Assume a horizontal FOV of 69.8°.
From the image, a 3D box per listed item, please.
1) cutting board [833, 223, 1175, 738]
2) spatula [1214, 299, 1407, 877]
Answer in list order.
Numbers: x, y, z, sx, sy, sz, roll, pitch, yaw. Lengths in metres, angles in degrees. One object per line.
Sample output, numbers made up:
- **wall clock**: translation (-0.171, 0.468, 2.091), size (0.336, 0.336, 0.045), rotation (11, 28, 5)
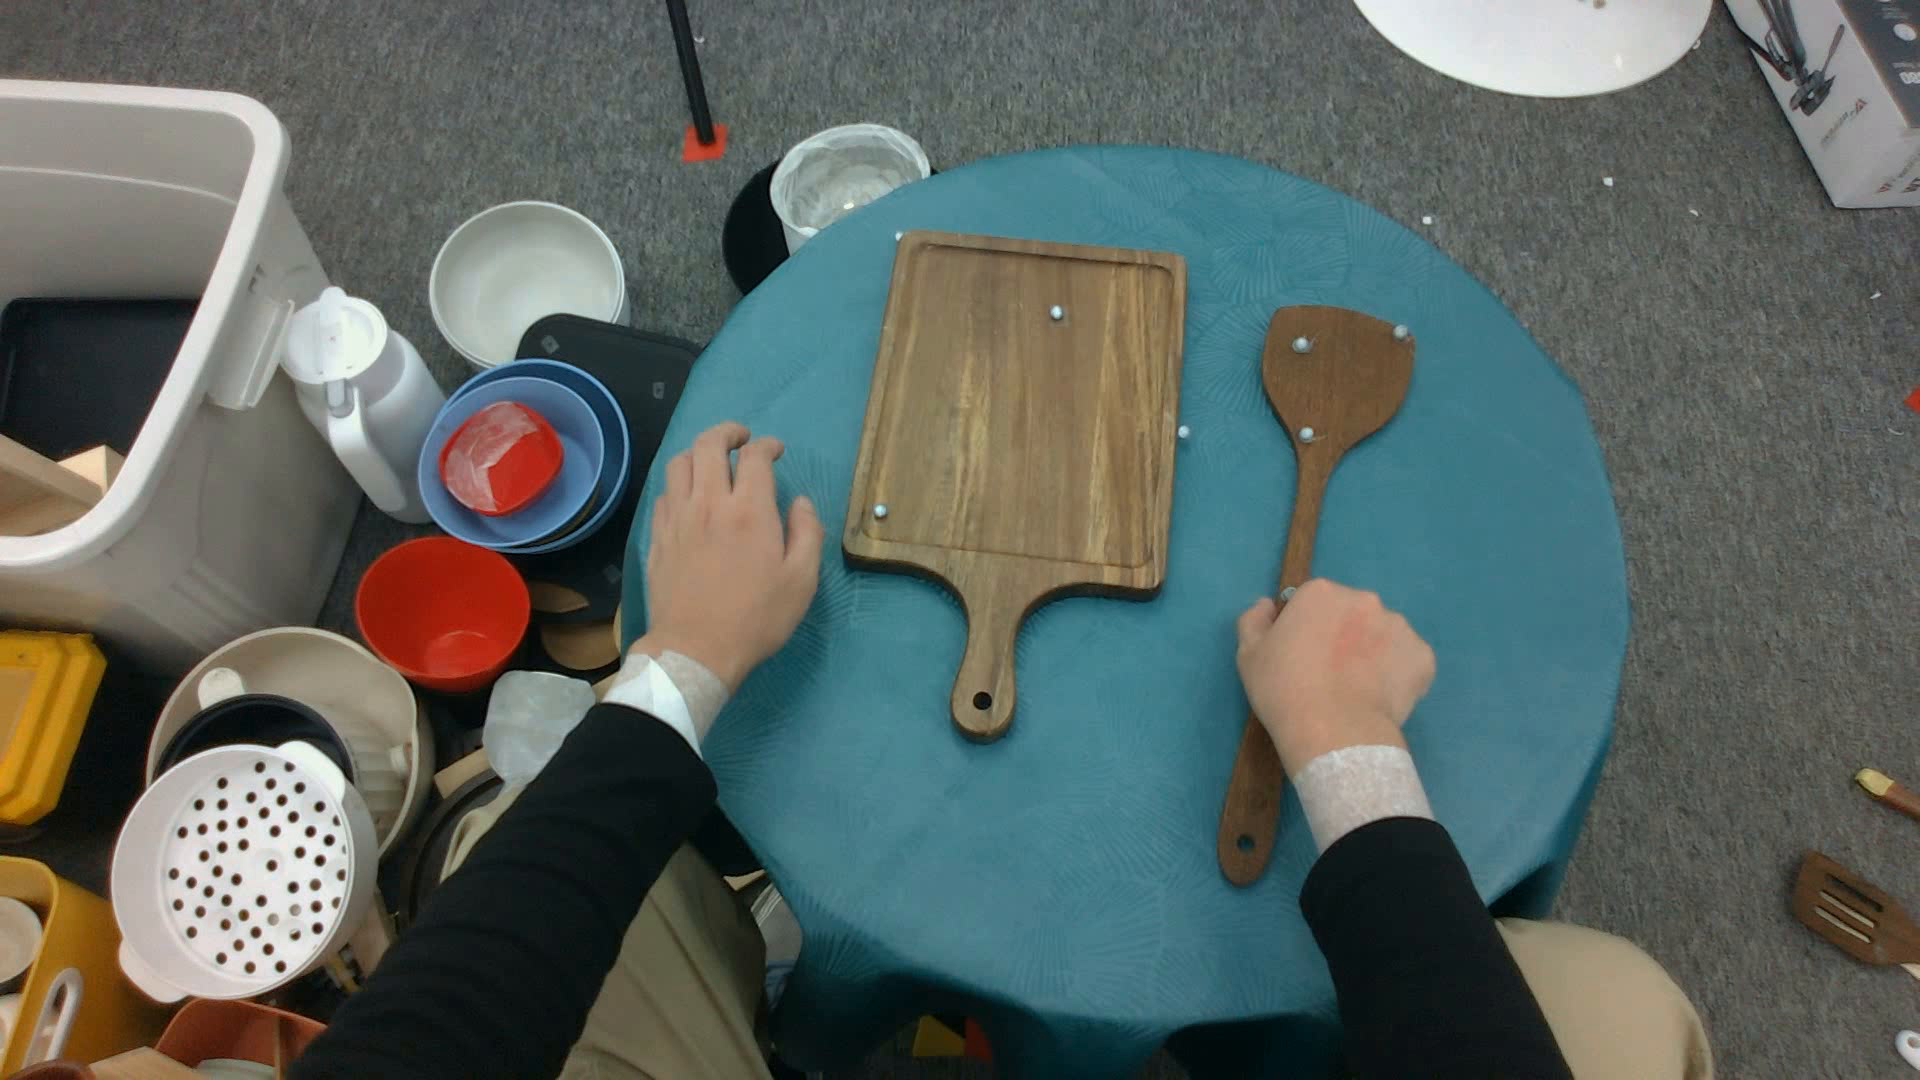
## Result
- **cutting board**: translation (0.028, -0.048, 0.851), size (0.201, 0.023, 0.353), rotation (6, 63, 3)
- **spatula**: translation (0.198, 0.012, 0.821), size (0.096, 0.016, 0.387), rotation (13, 64, 7)
